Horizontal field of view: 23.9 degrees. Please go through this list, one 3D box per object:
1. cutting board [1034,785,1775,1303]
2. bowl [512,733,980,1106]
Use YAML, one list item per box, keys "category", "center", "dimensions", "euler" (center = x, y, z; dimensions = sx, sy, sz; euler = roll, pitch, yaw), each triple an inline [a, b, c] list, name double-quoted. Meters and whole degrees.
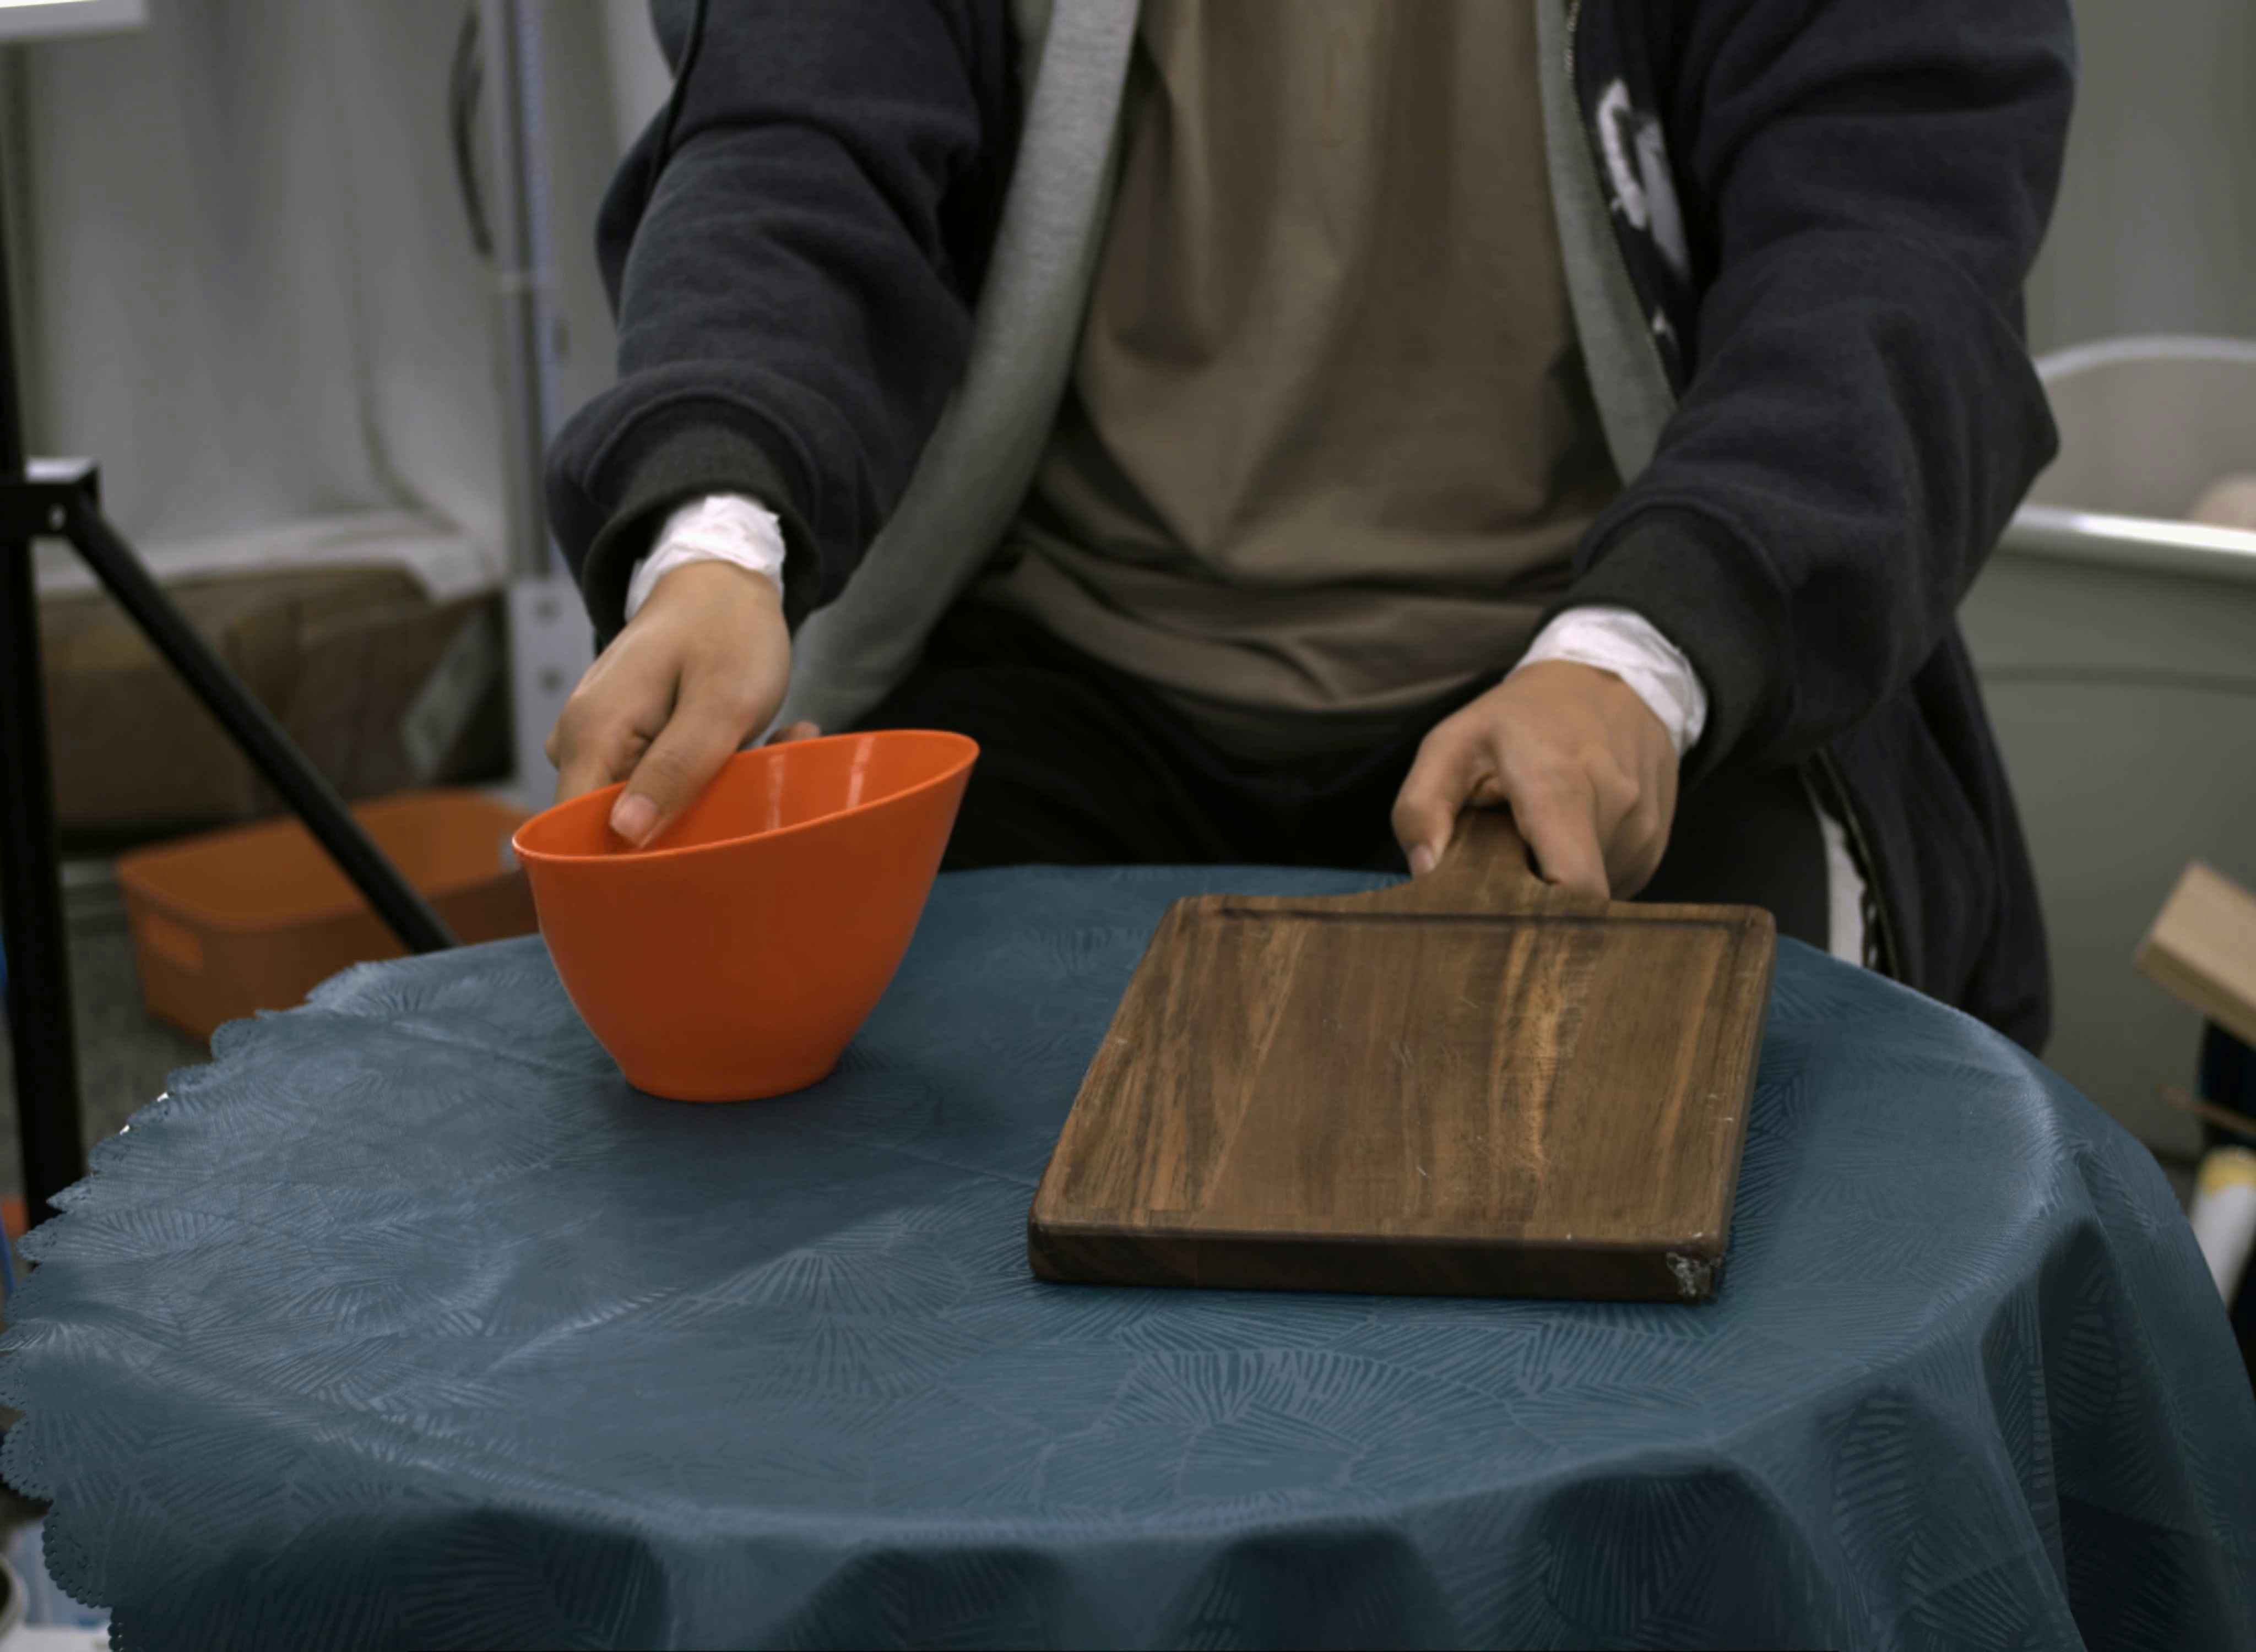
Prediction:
- category: "cutting board"
  center: [0.097, 0.059, 1.623]
  dimensions: [0.202, 0.023, 0.351]
  euler: [0, 21, 11]
- category: "bowl"
  center: [-0.118, 0.030, 1.671]
  dimensions: [0.147, 0.104, 0.149]
  euler: [-2, 16, -1]
